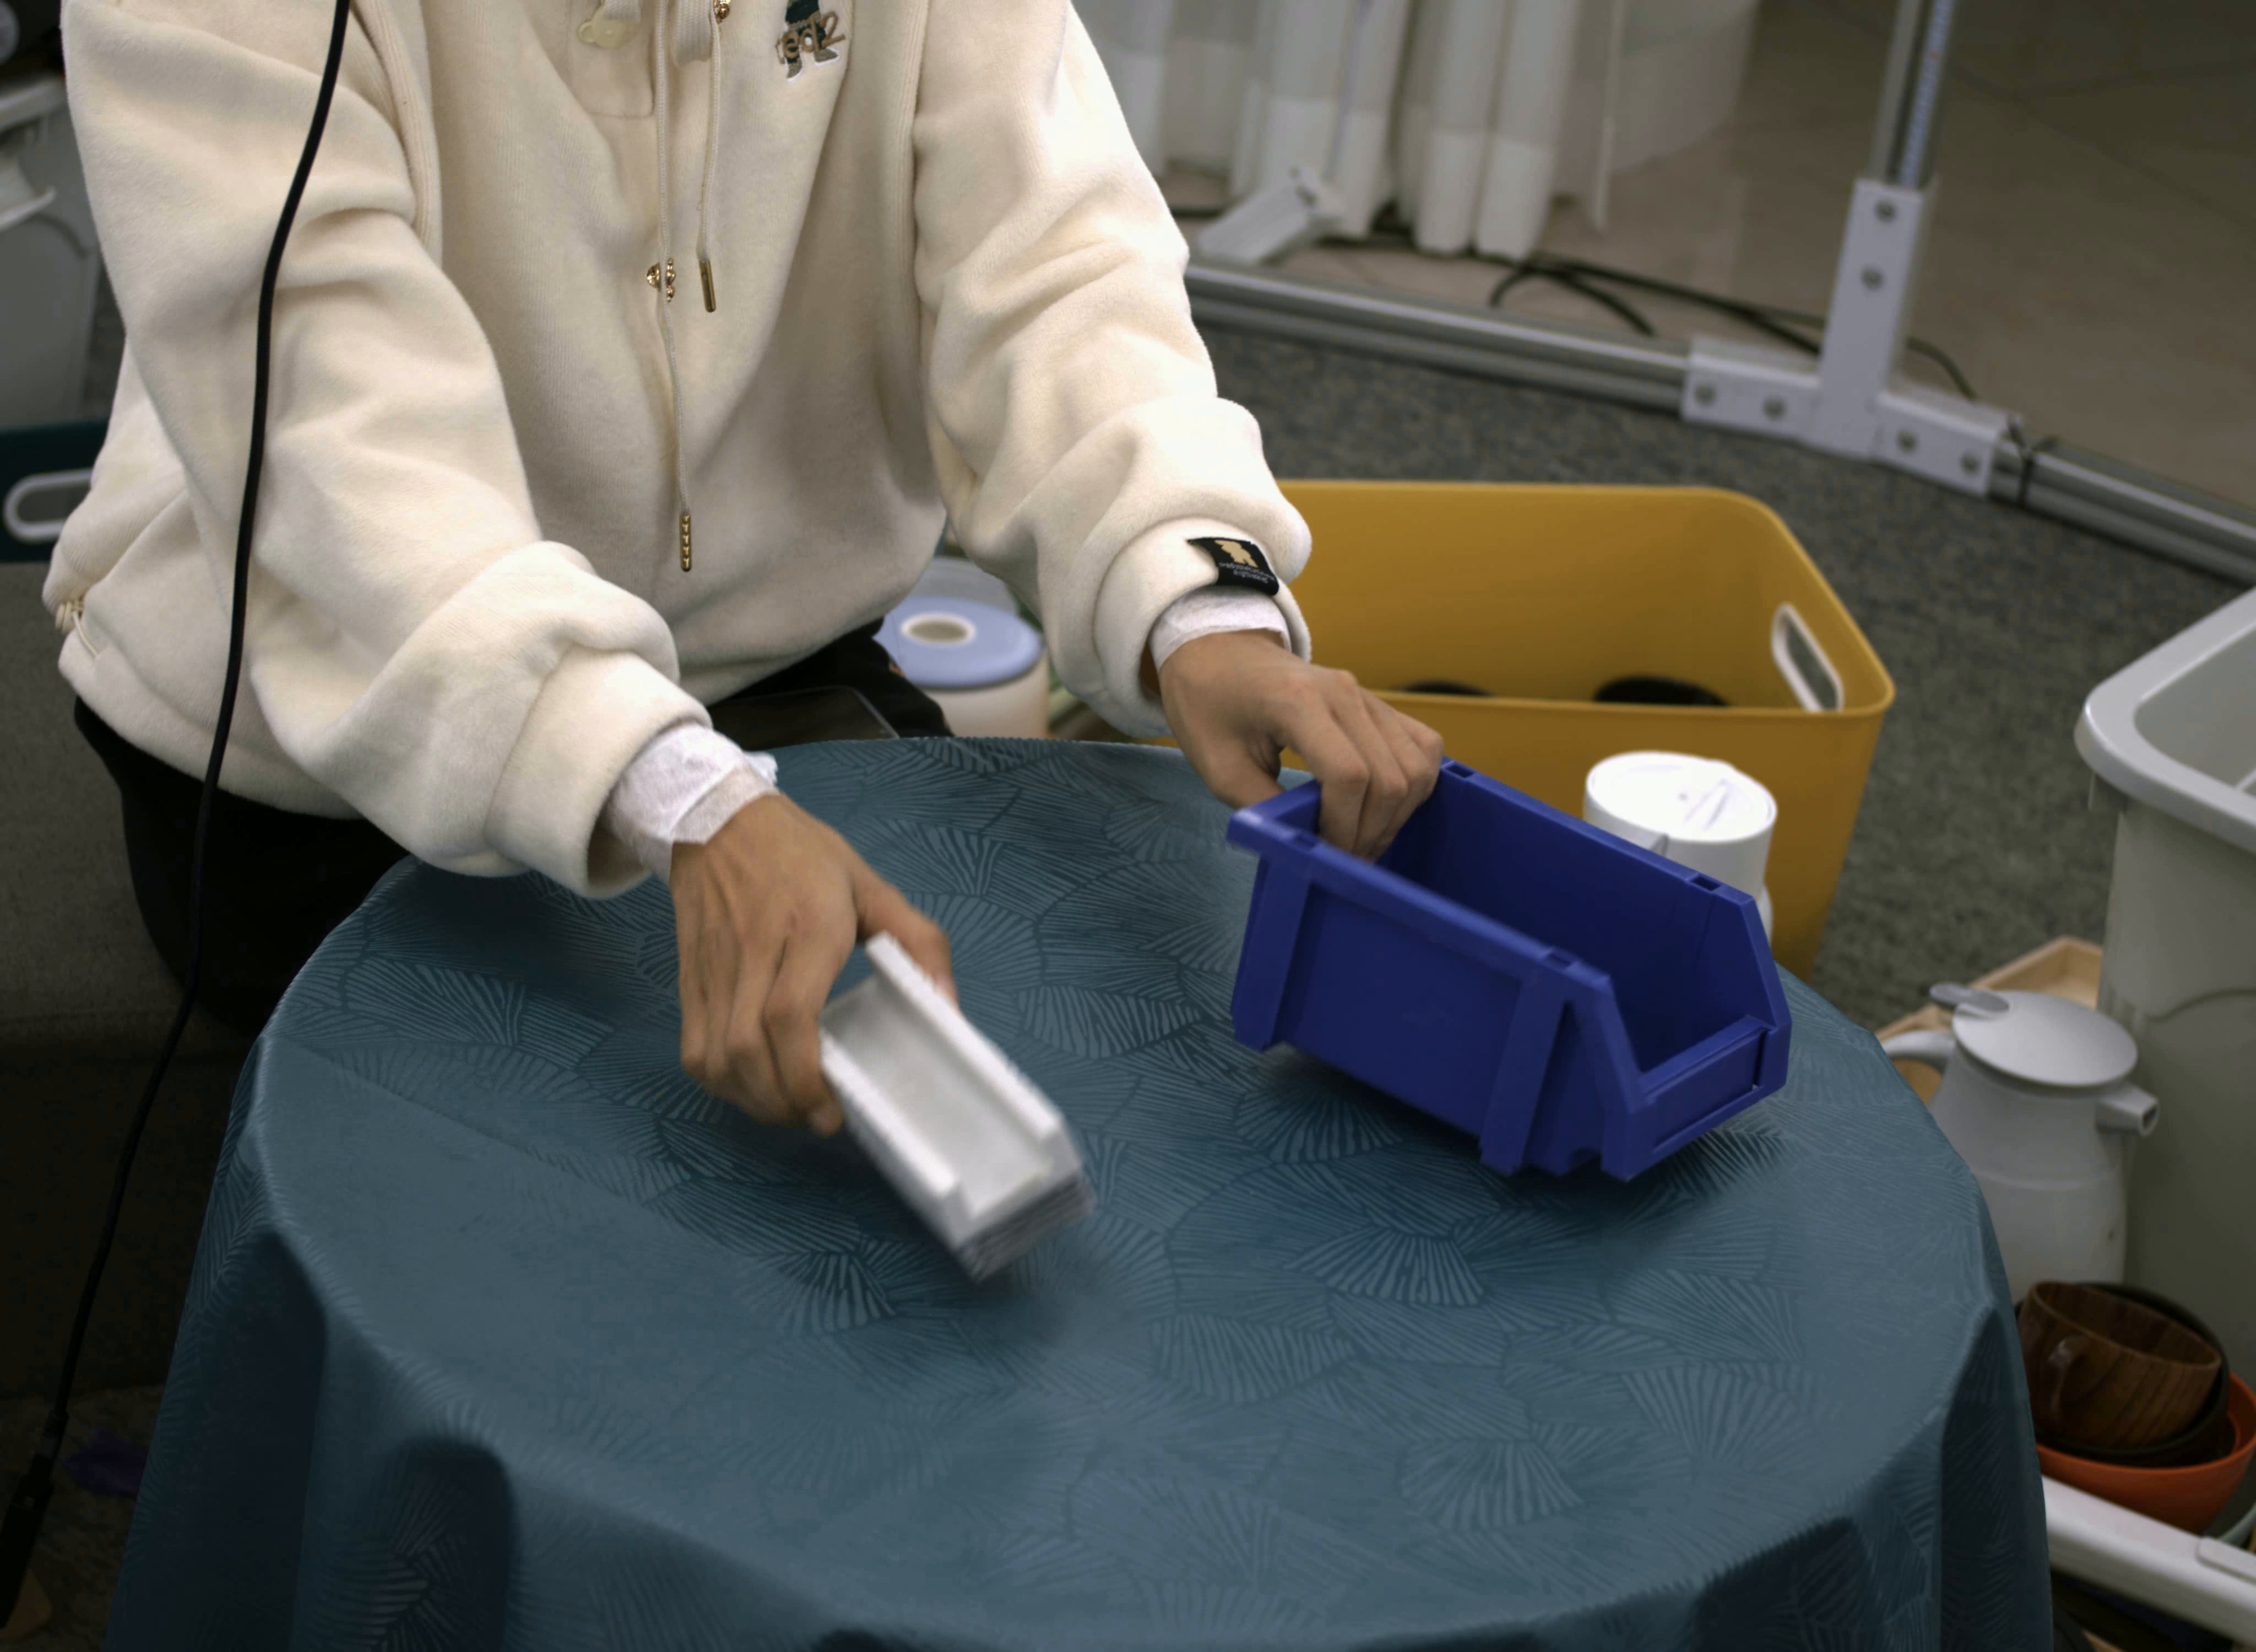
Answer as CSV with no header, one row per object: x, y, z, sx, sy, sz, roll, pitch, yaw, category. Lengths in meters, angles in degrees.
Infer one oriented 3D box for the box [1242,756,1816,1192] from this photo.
0.141,0.056,1.864,0.180,0.081,0.124,24,27,30,box

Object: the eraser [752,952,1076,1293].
-0.070,0.097,1.757,0.049,0.046,0.135,-31,39,-14,eraser
